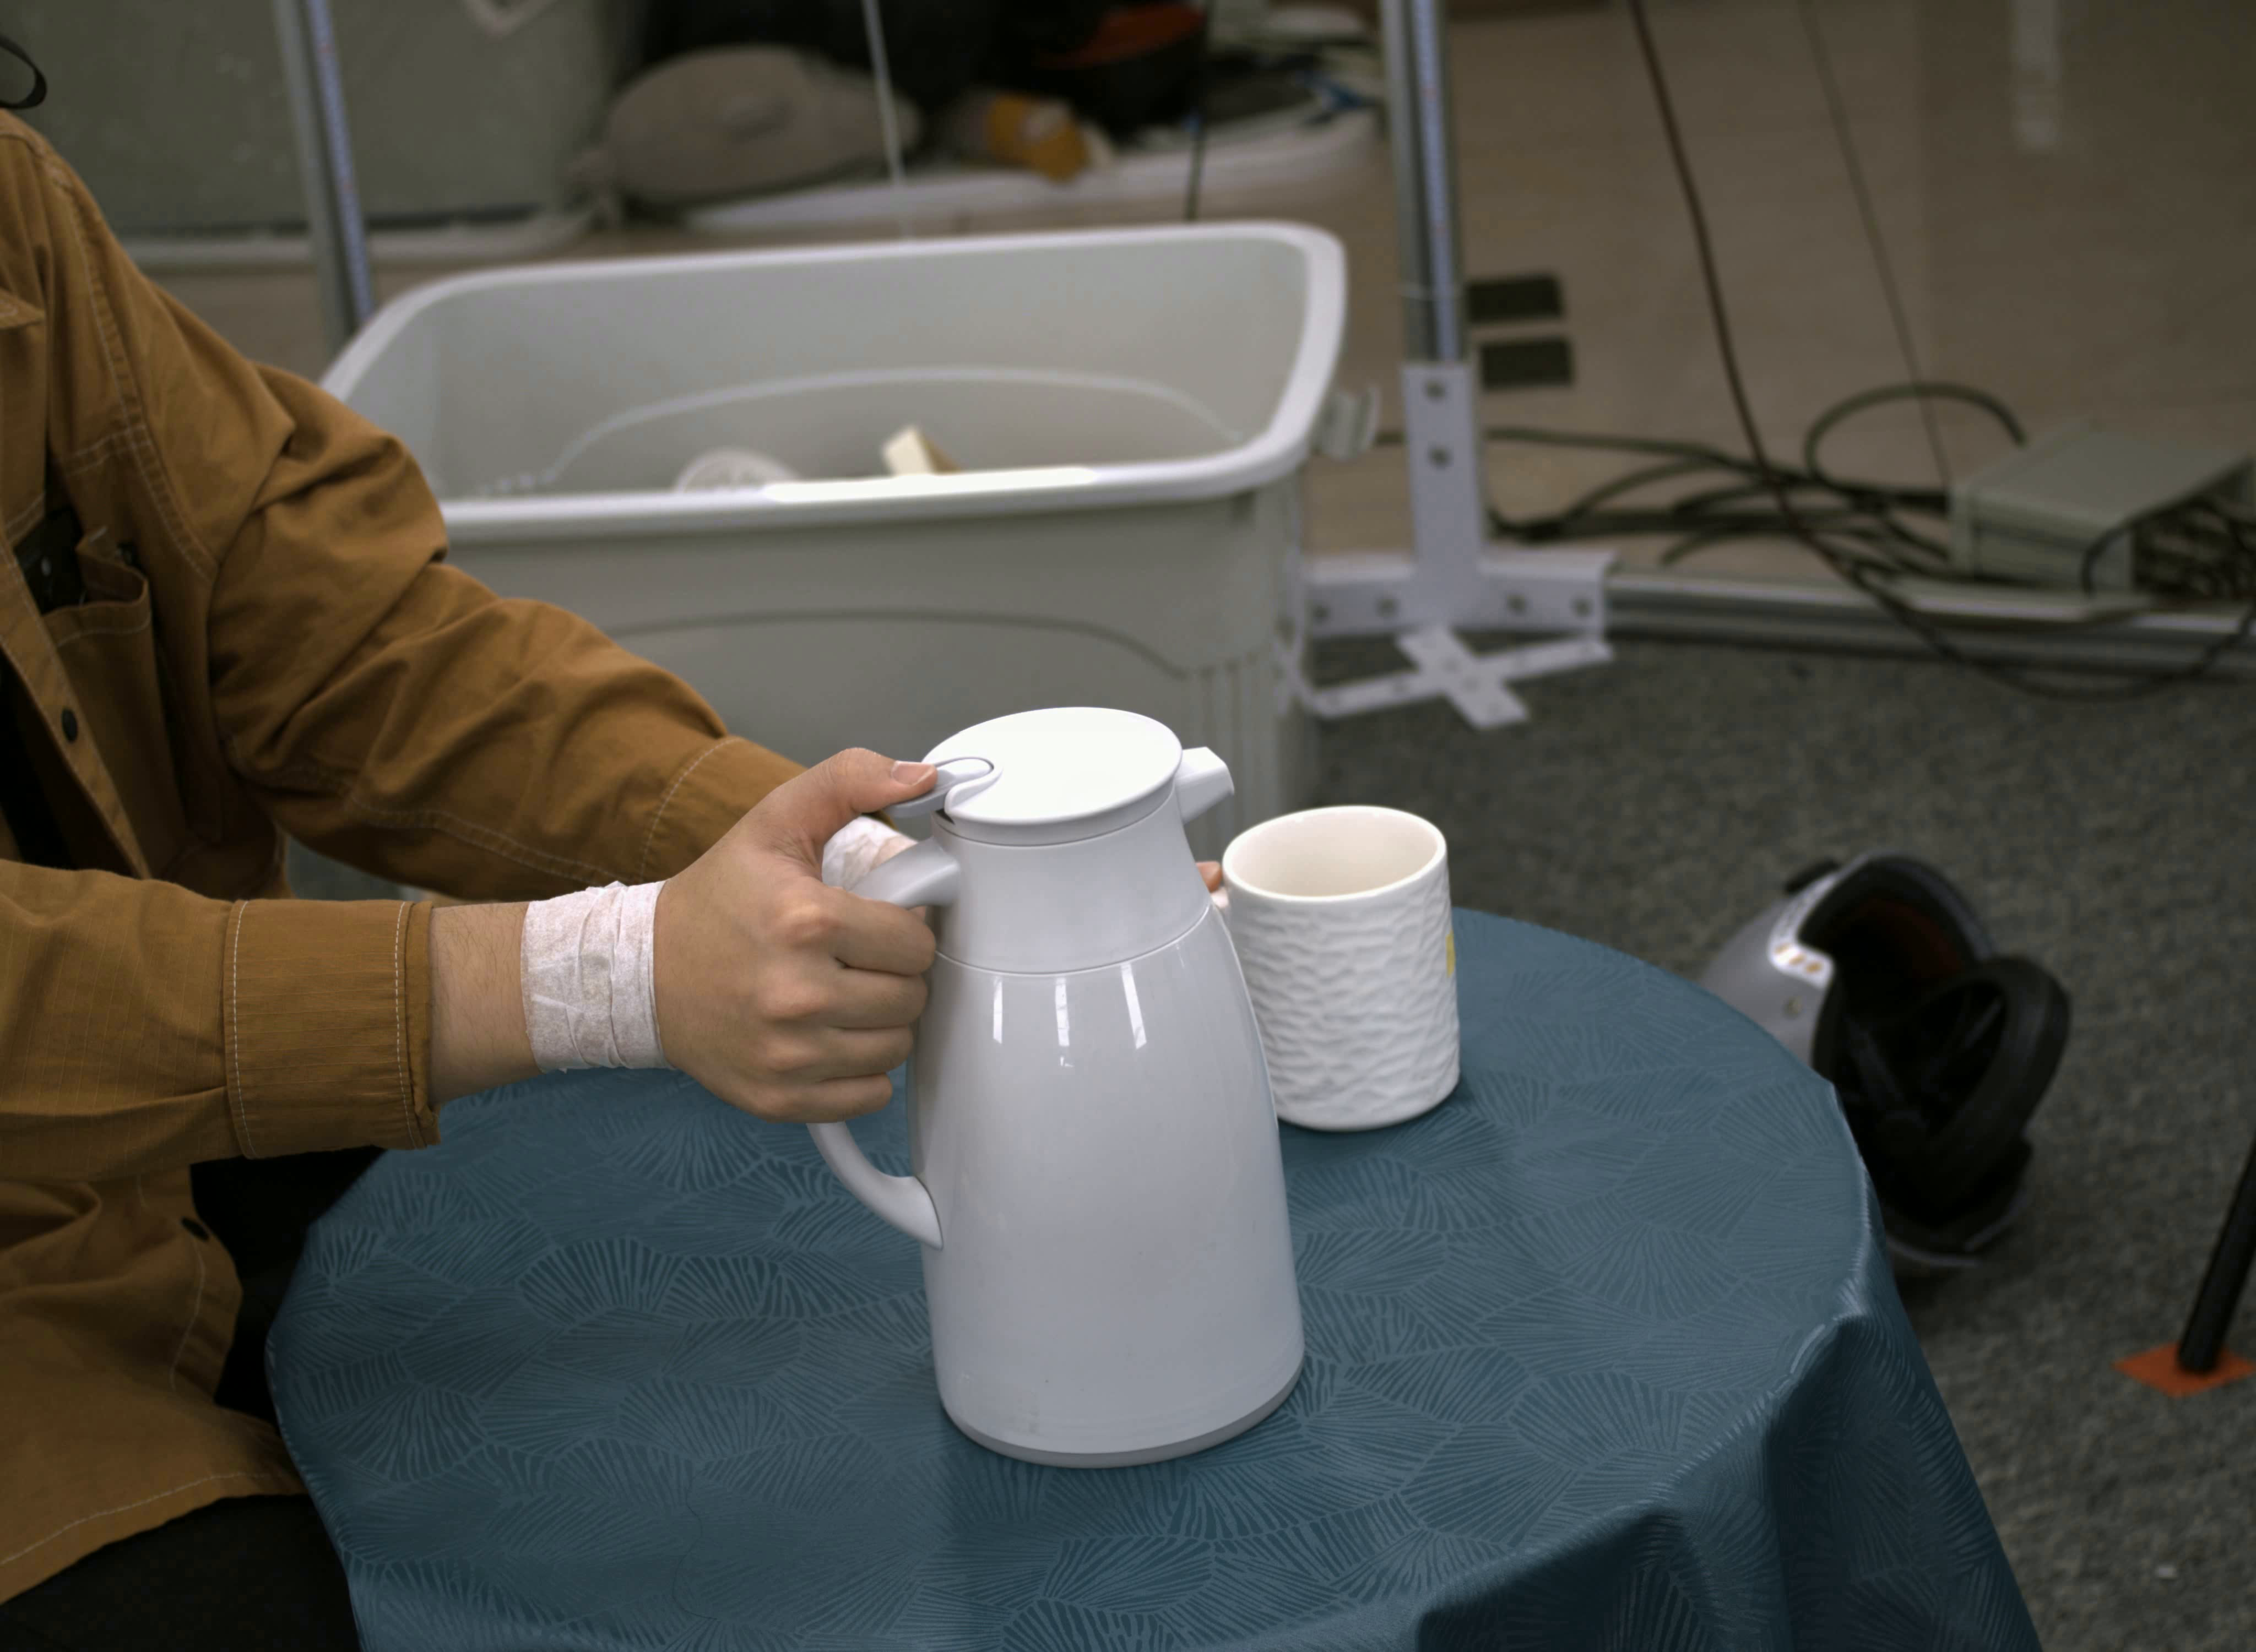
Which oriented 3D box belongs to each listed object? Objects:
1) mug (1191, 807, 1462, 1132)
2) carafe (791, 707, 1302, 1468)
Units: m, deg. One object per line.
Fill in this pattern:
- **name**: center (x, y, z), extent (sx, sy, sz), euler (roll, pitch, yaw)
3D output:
- **mug**: center (0.068, 0.056, 2.189), extent (0.118, 0.103, 0.084), euler (-2, 25, 12)
- **carafe**: center (-0.032, 0.089, 1.967), extent (0.167, 0.253, 0.131), euler (-16, 28, -18)
